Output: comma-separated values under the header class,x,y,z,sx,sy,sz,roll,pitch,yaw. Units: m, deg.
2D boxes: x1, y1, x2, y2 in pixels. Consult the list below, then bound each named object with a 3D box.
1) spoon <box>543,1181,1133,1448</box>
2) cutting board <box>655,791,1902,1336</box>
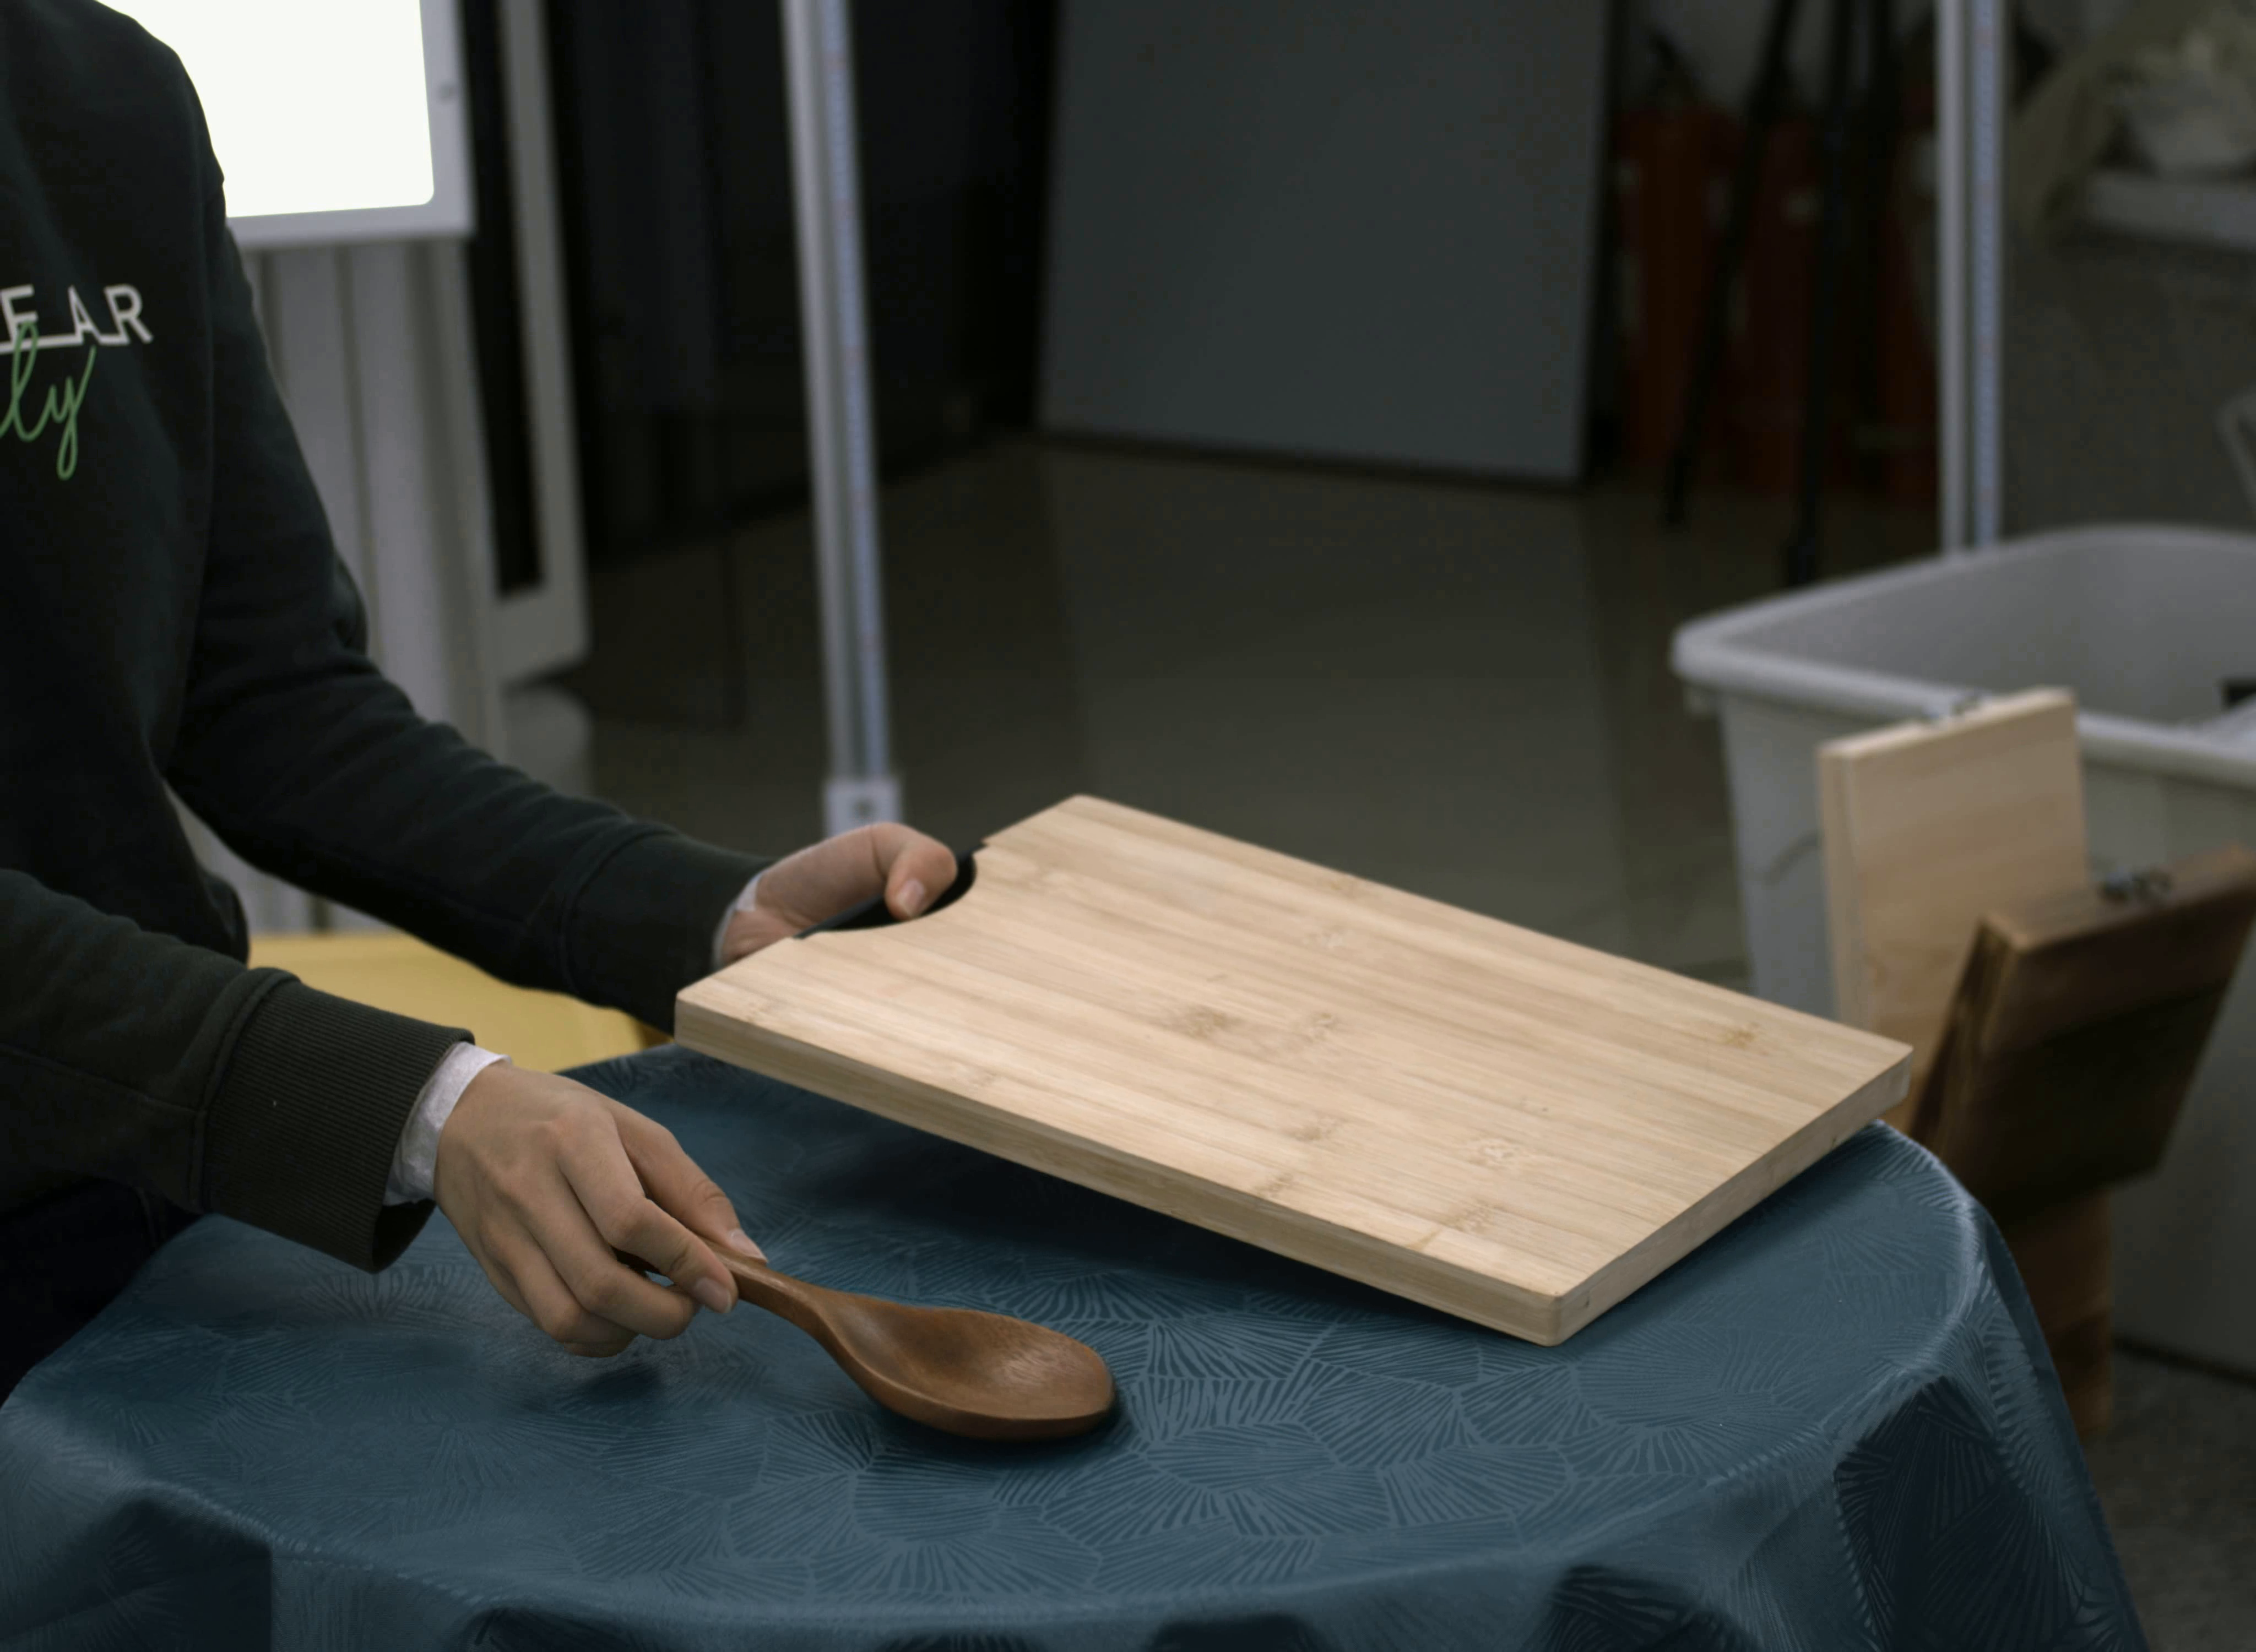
class,x,y,z,sx,sy,sz,roll,pitch,yaw
spoon,-0.091,0.145,1.604,0.217,0.017,0.074,19,23,34
cutting board,0.050,0.071,1.779,0.350,0.024,0.246,16,25,31
